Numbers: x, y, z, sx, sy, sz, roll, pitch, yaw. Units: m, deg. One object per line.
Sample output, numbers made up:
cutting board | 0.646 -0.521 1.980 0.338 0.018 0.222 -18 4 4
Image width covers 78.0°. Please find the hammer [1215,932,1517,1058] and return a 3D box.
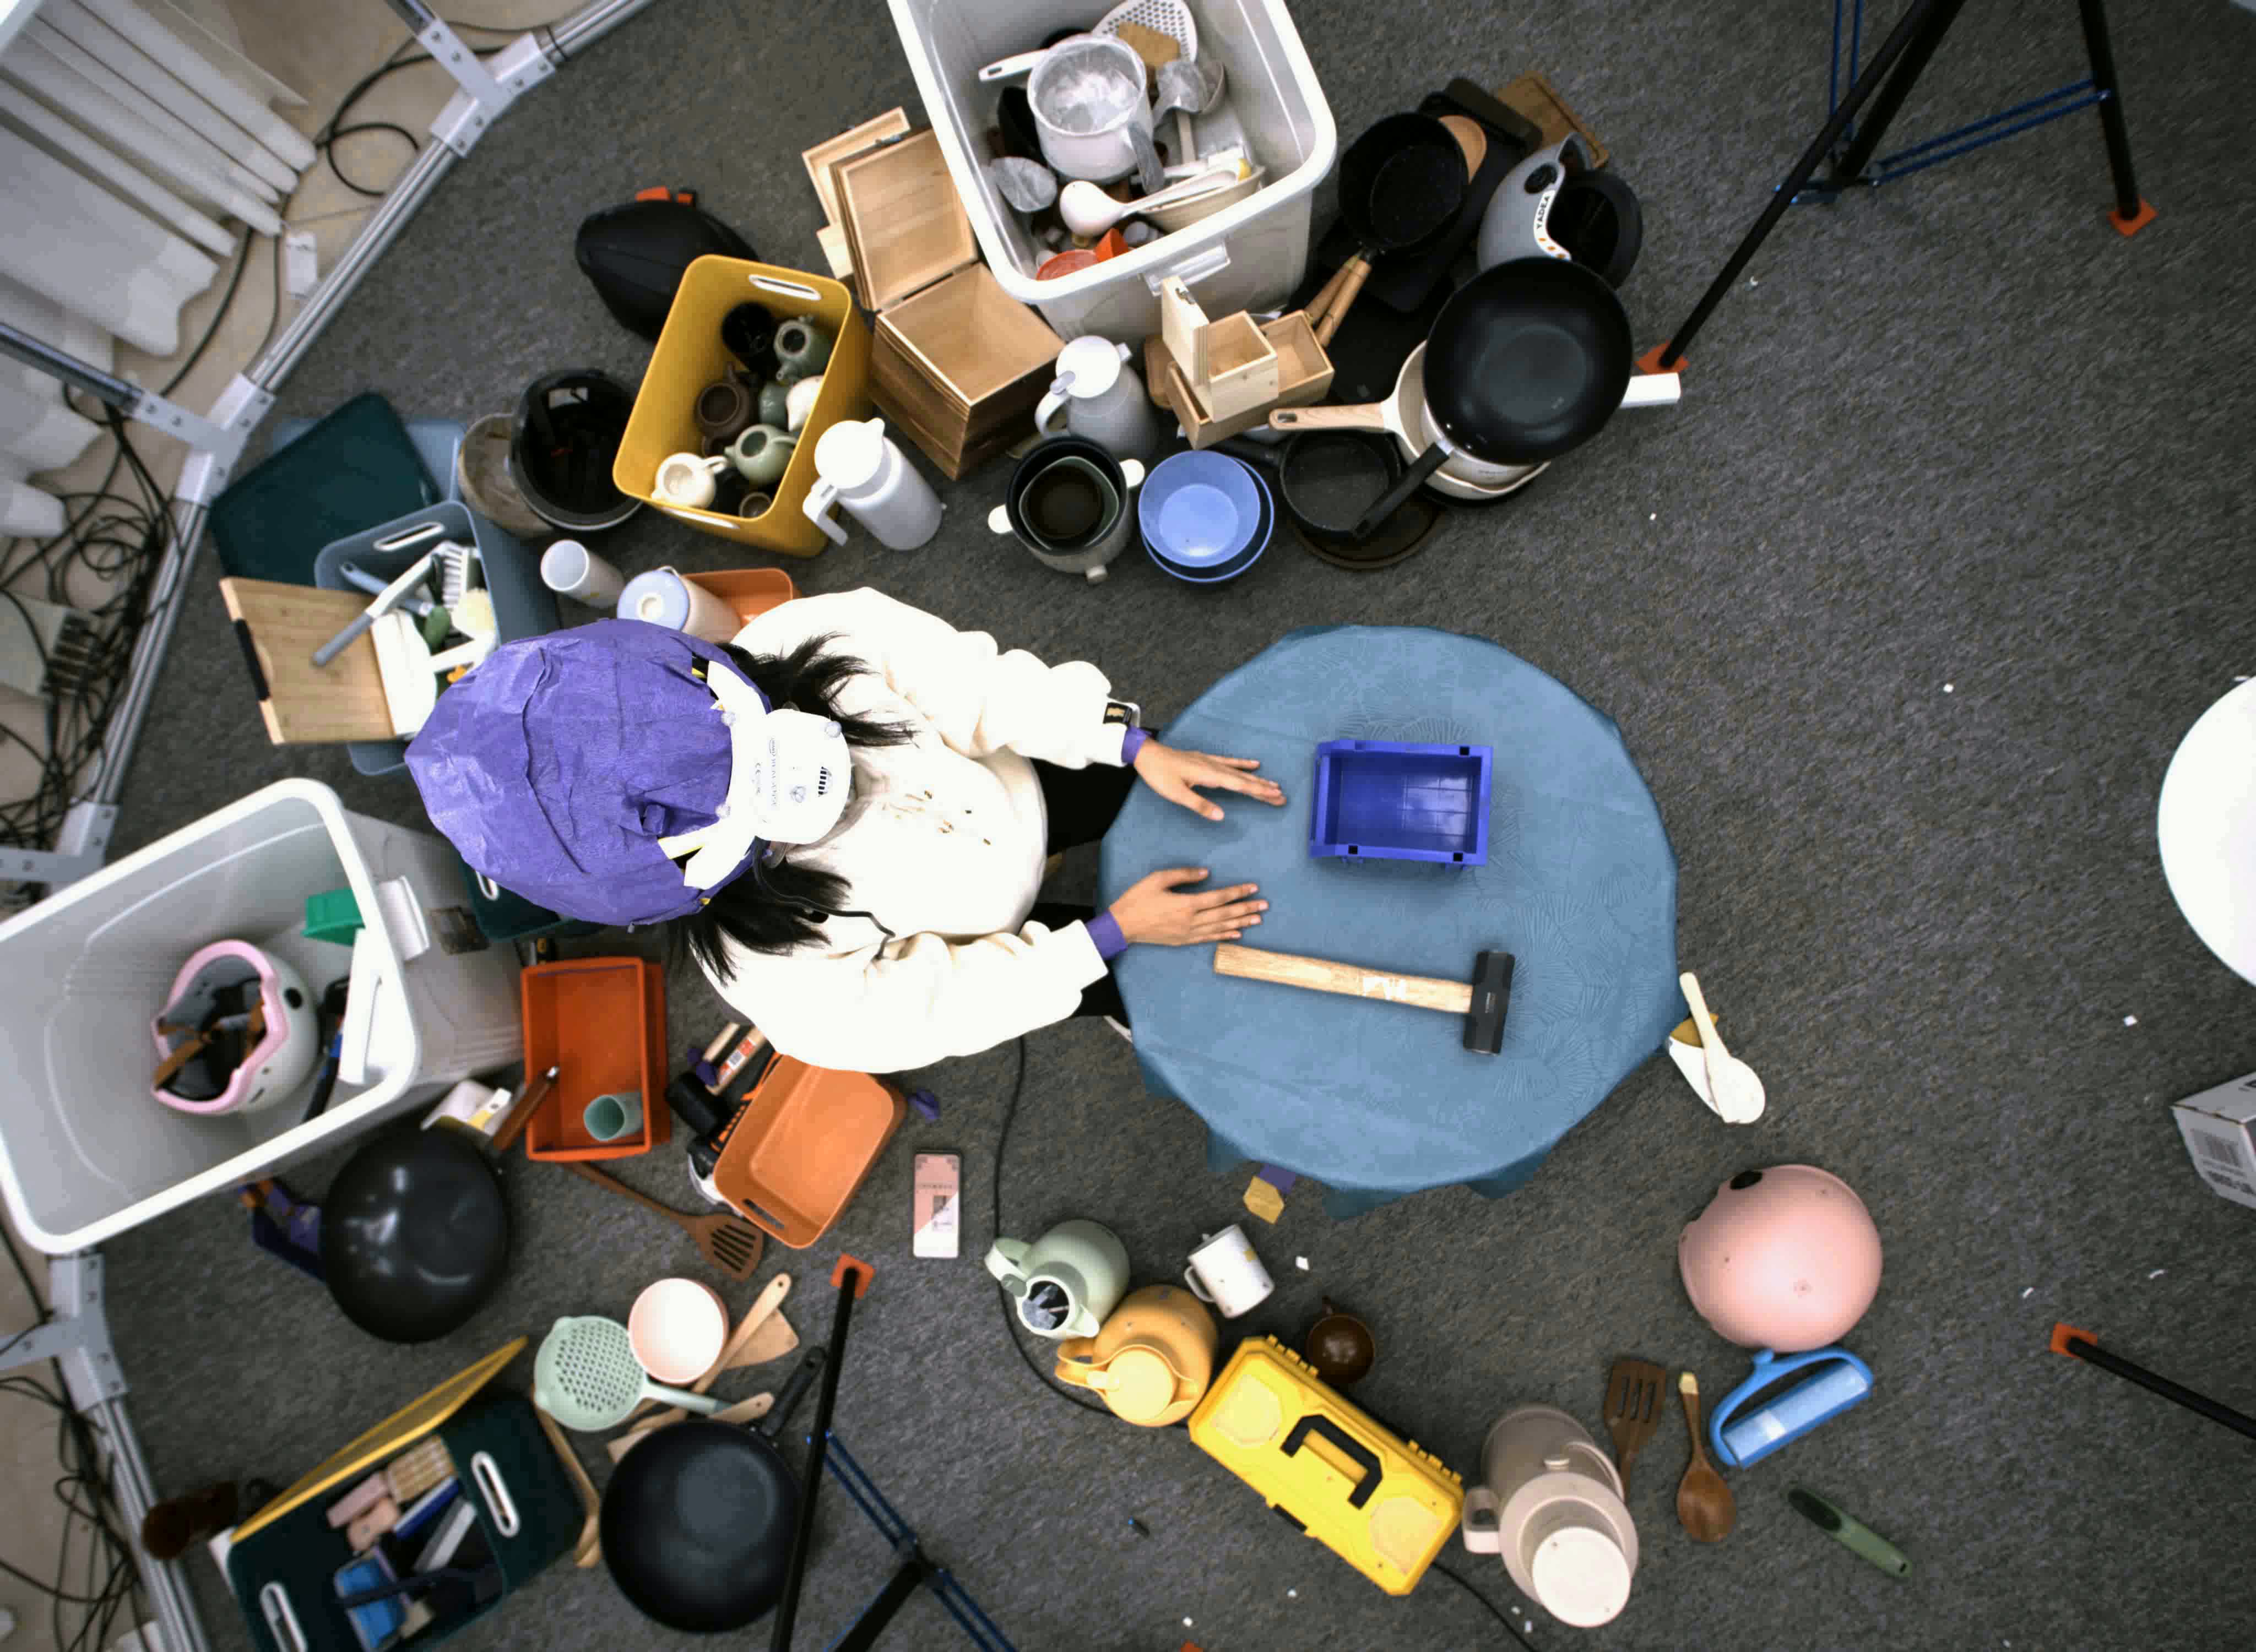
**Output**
hammer | 0.242 0.157 1.444 0.306 0.038 0.107 11 89 12

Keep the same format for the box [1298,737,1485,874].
box | 0.269 -0.022 1.425 0.180 0.082 0.124 5 87 8
